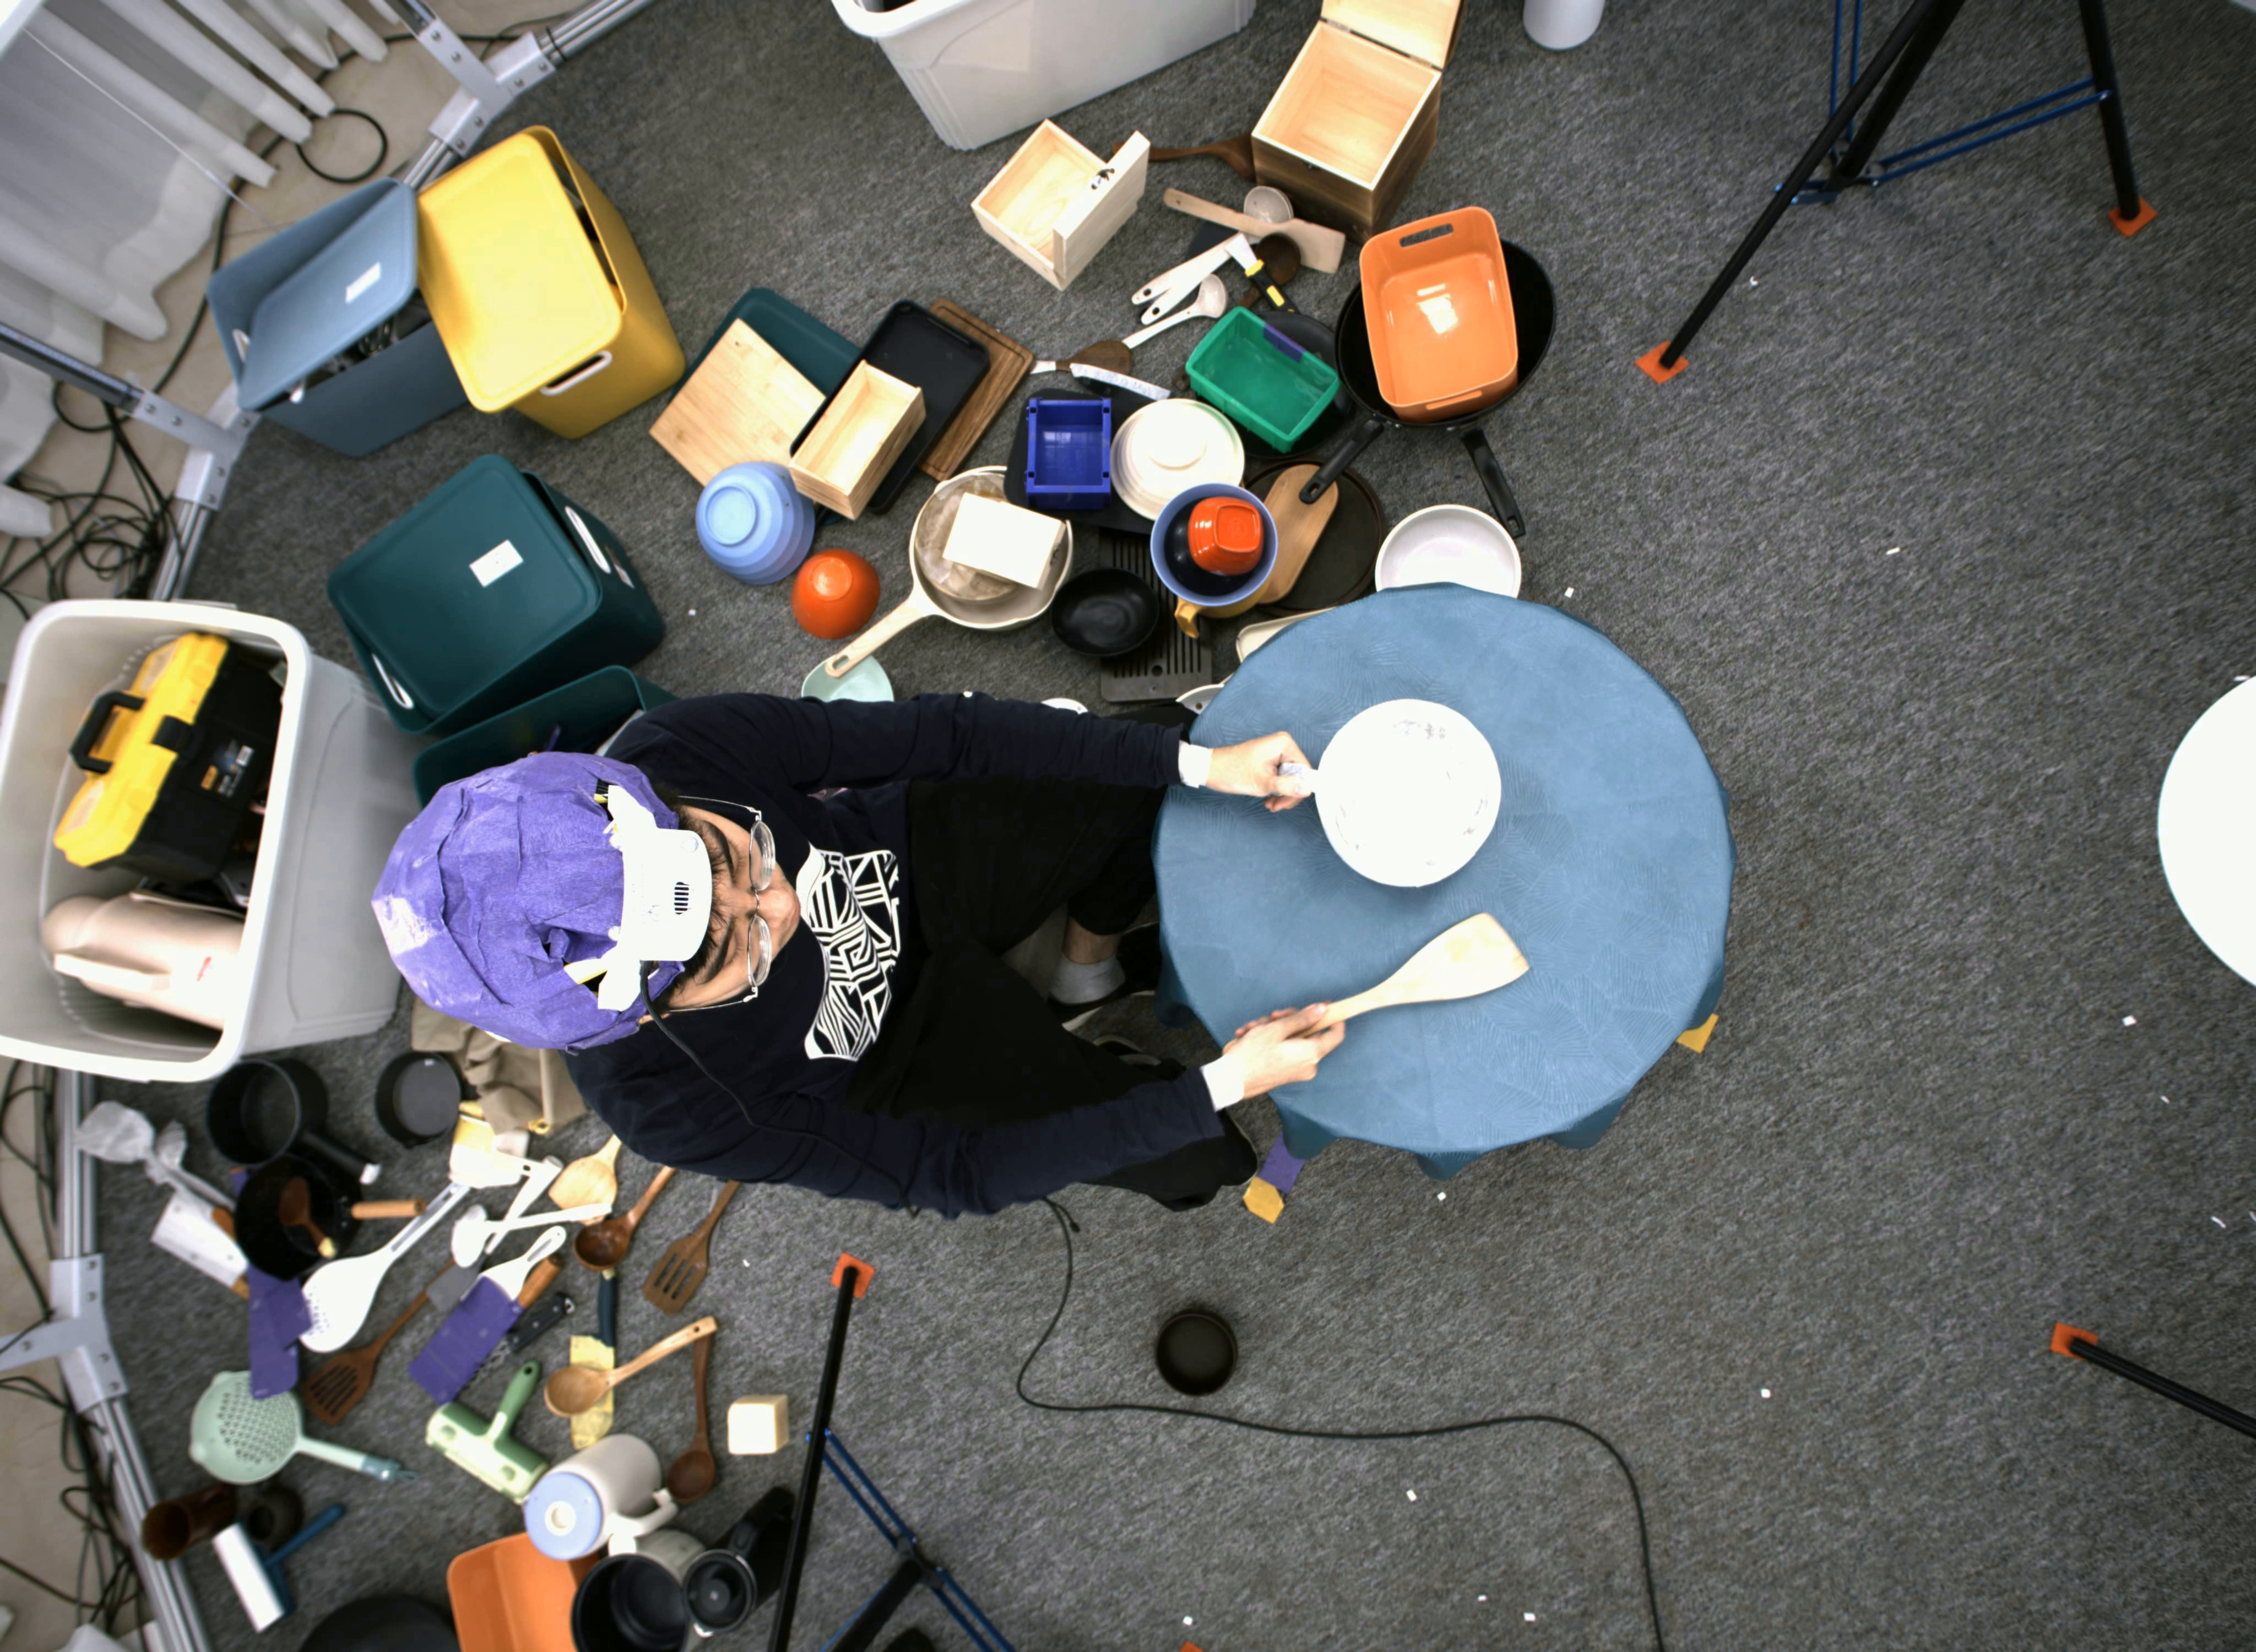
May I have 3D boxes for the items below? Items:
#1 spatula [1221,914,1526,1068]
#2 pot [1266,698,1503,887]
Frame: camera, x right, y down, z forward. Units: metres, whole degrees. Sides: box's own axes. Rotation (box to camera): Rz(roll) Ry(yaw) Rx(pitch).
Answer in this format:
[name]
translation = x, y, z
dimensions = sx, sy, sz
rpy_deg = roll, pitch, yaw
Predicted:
[spatula]
translation = 0.247, 0.176, 1.417
dimensions = 0.327, 0.017, 0.079
rpy_deg = -21, 73, -6
[pot]
translation = 0.254, -0.034, 1.396
dimensions = 0.234, 0.137, 0.178
rpy_deg = 7, 86, 9
